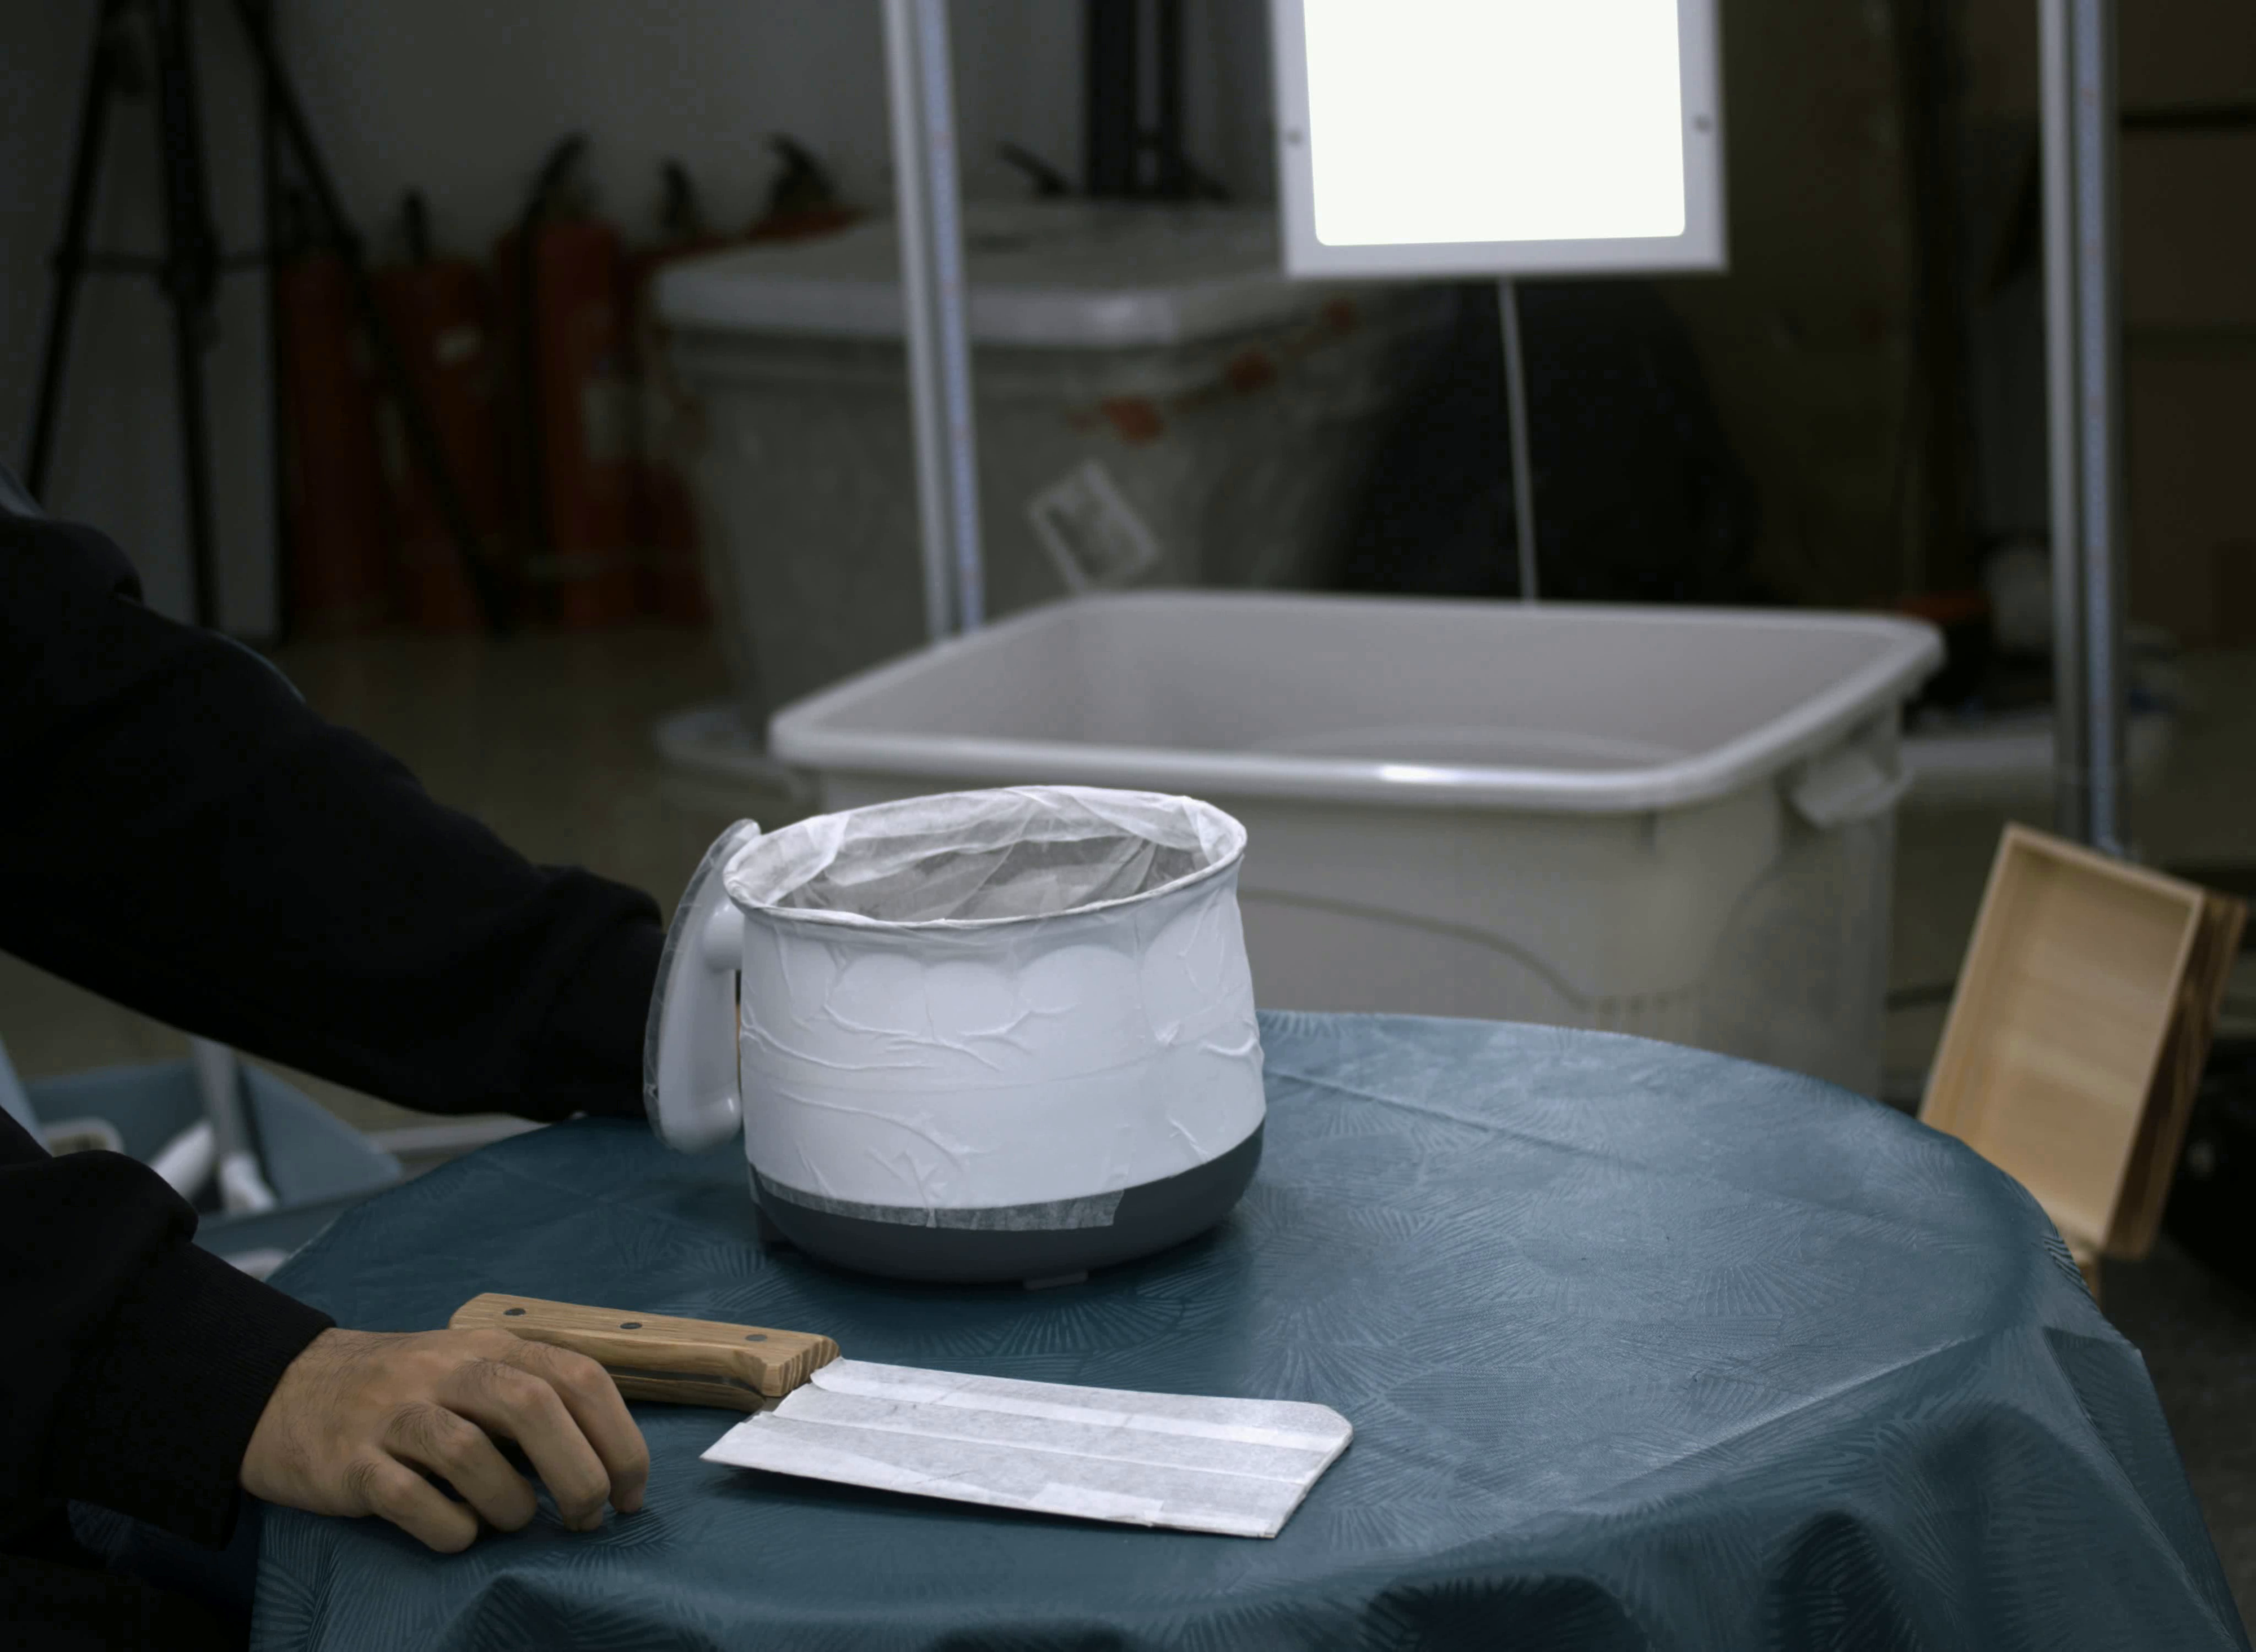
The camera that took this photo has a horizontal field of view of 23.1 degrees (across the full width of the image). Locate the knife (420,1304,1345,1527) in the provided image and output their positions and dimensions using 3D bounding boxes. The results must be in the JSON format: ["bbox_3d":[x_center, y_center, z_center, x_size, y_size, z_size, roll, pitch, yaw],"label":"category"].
[{"bbox_3d":[-0.079,0.178,1.681,0.321,0.022,0.111,5,18,28],"label":"knife"}]

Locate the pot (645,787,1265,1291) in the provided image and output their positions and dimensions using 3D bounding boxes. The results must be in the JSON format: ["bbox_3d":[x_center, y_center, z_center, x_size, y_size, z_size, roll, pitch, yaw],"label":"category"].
[{"bbox_3d":[-0.067,0.068,1.870,0.238,0.137,0.174,5,16,32],"label":"pot"}]
